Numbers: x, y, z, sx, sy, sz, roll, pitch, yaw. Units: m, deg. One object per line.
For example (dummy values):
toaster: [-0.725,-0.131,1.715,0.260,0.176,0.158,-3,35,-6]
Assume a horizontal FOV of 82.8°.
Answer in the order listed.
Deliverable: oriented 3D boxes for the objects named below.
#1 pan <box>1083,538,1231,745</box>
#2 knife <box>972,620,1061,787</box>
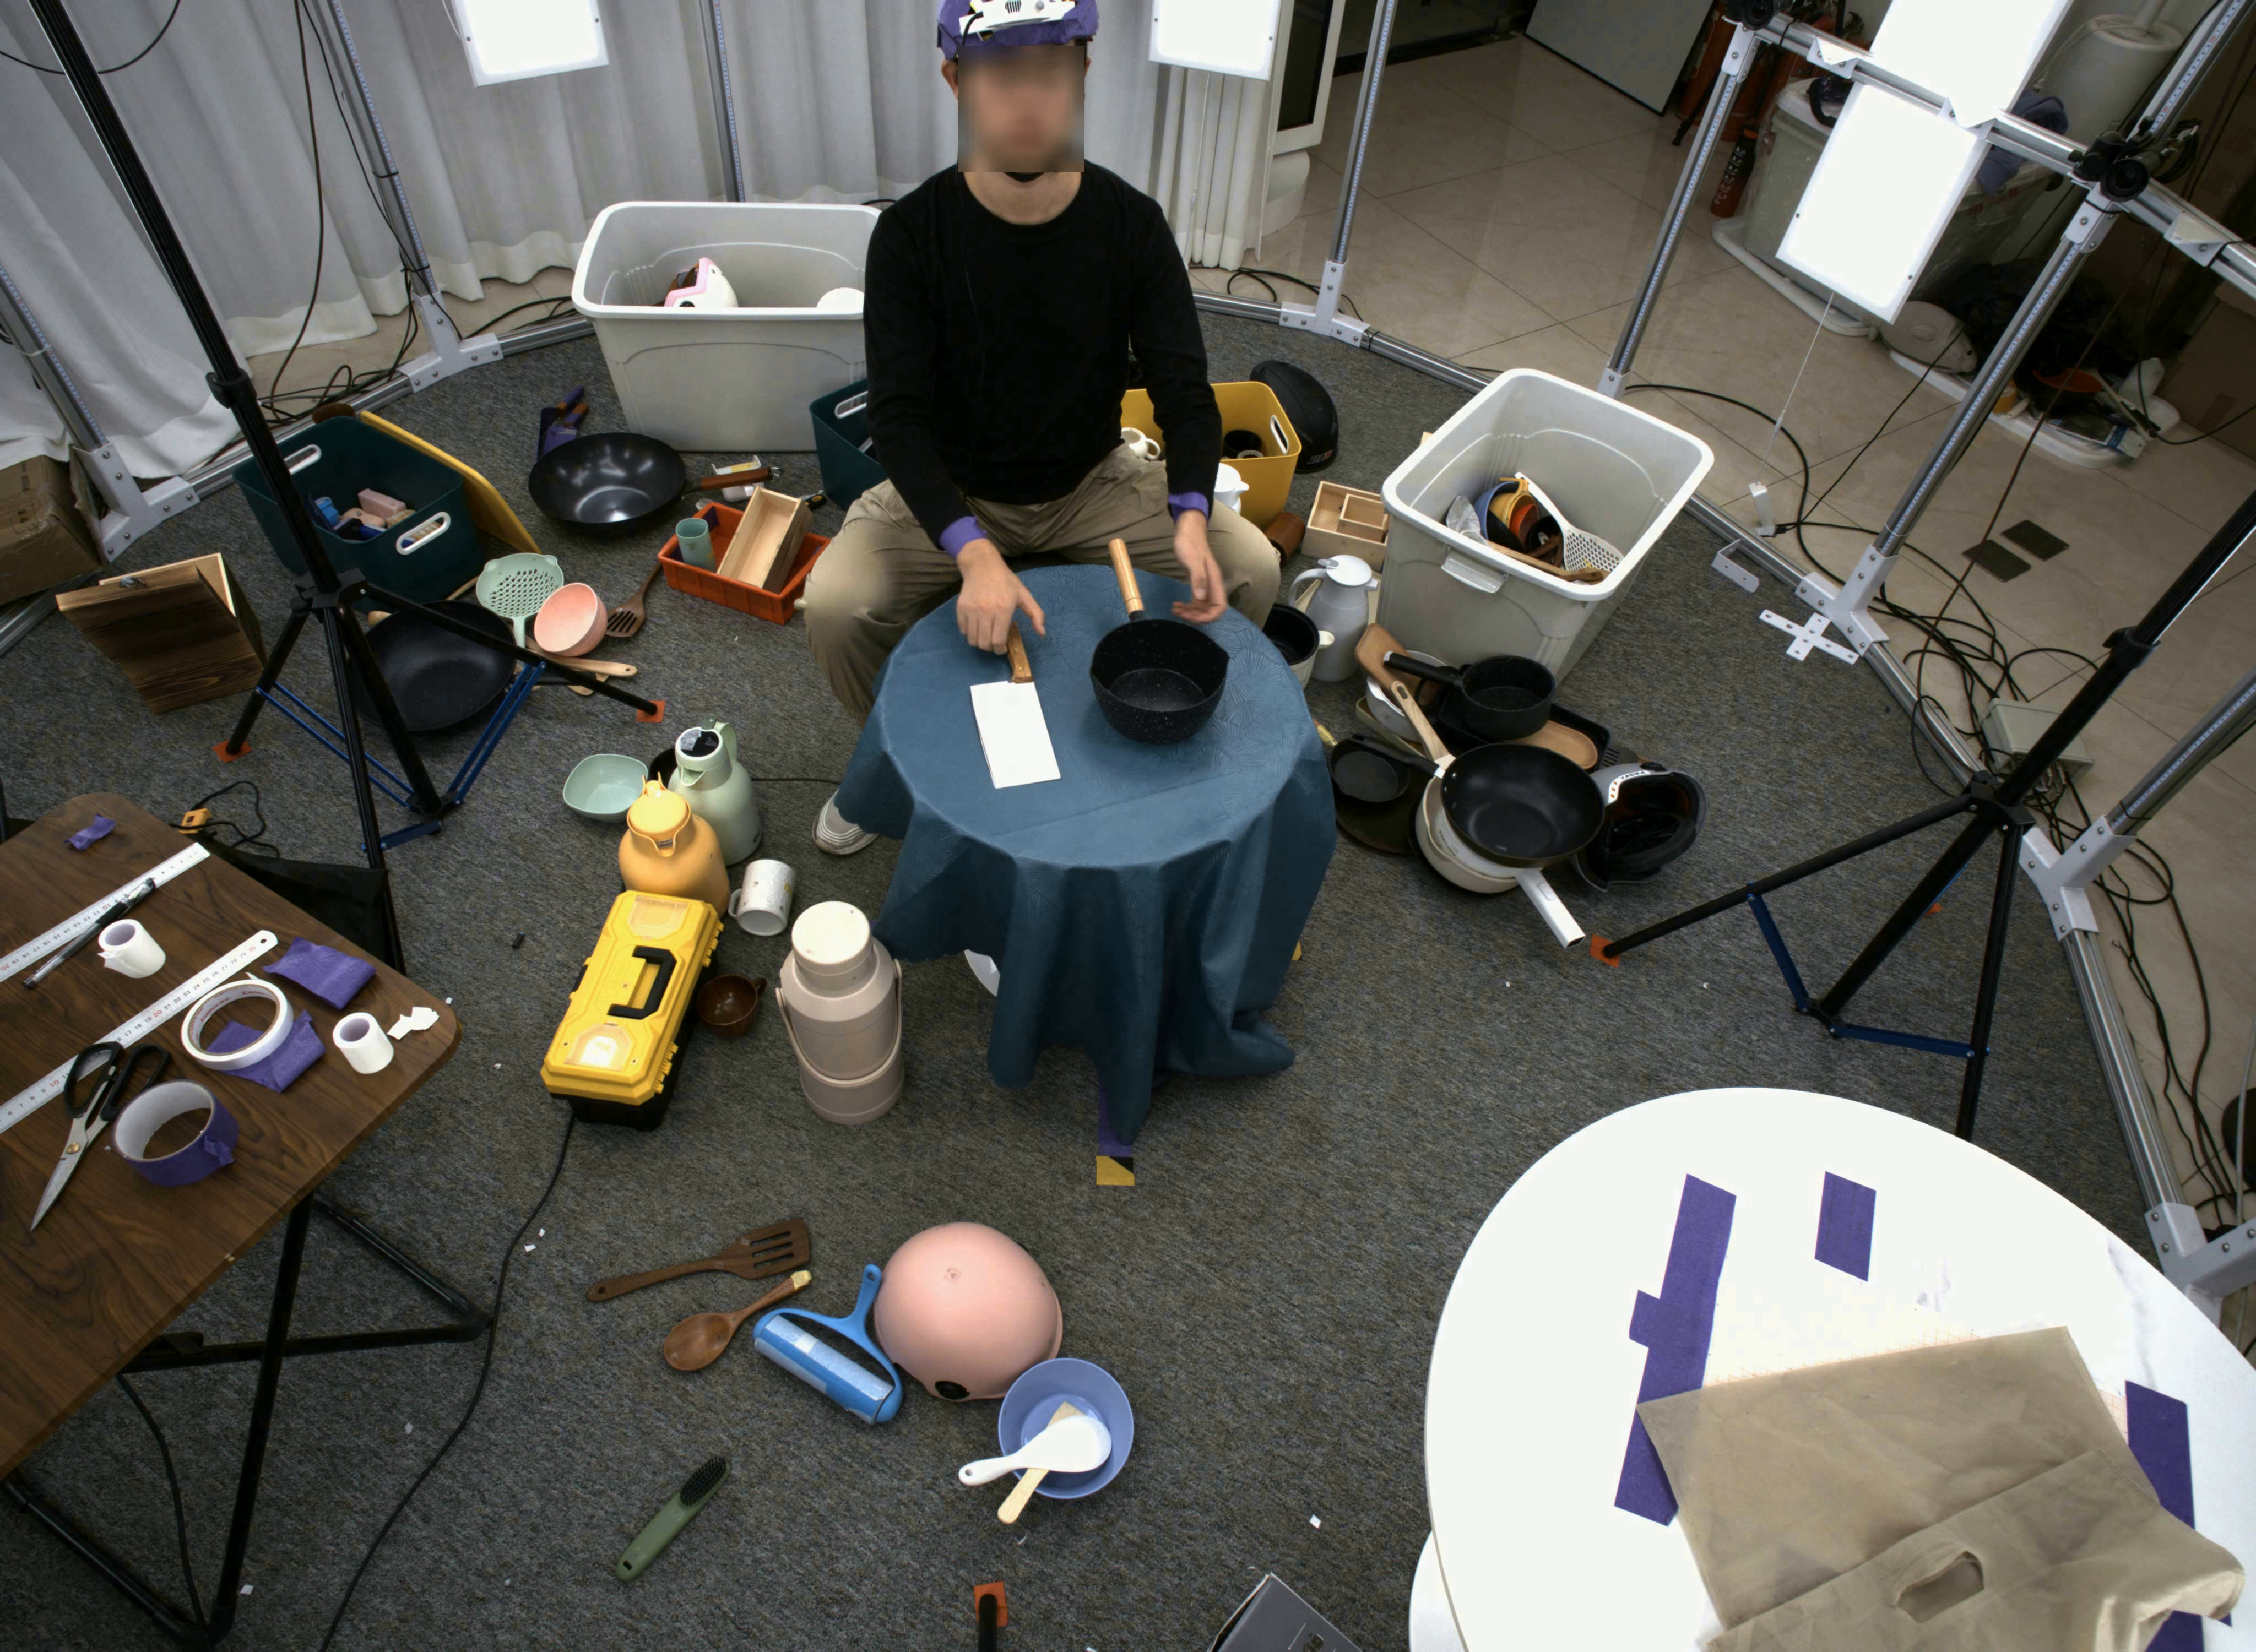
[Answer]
pan: [0.020,-0.264,1.831,0.207,0.105,0.351,-10,52,-12]
knife: [-0.168,-0.176,1.801,0.093,0.020,0.313,-9,53,-10]
